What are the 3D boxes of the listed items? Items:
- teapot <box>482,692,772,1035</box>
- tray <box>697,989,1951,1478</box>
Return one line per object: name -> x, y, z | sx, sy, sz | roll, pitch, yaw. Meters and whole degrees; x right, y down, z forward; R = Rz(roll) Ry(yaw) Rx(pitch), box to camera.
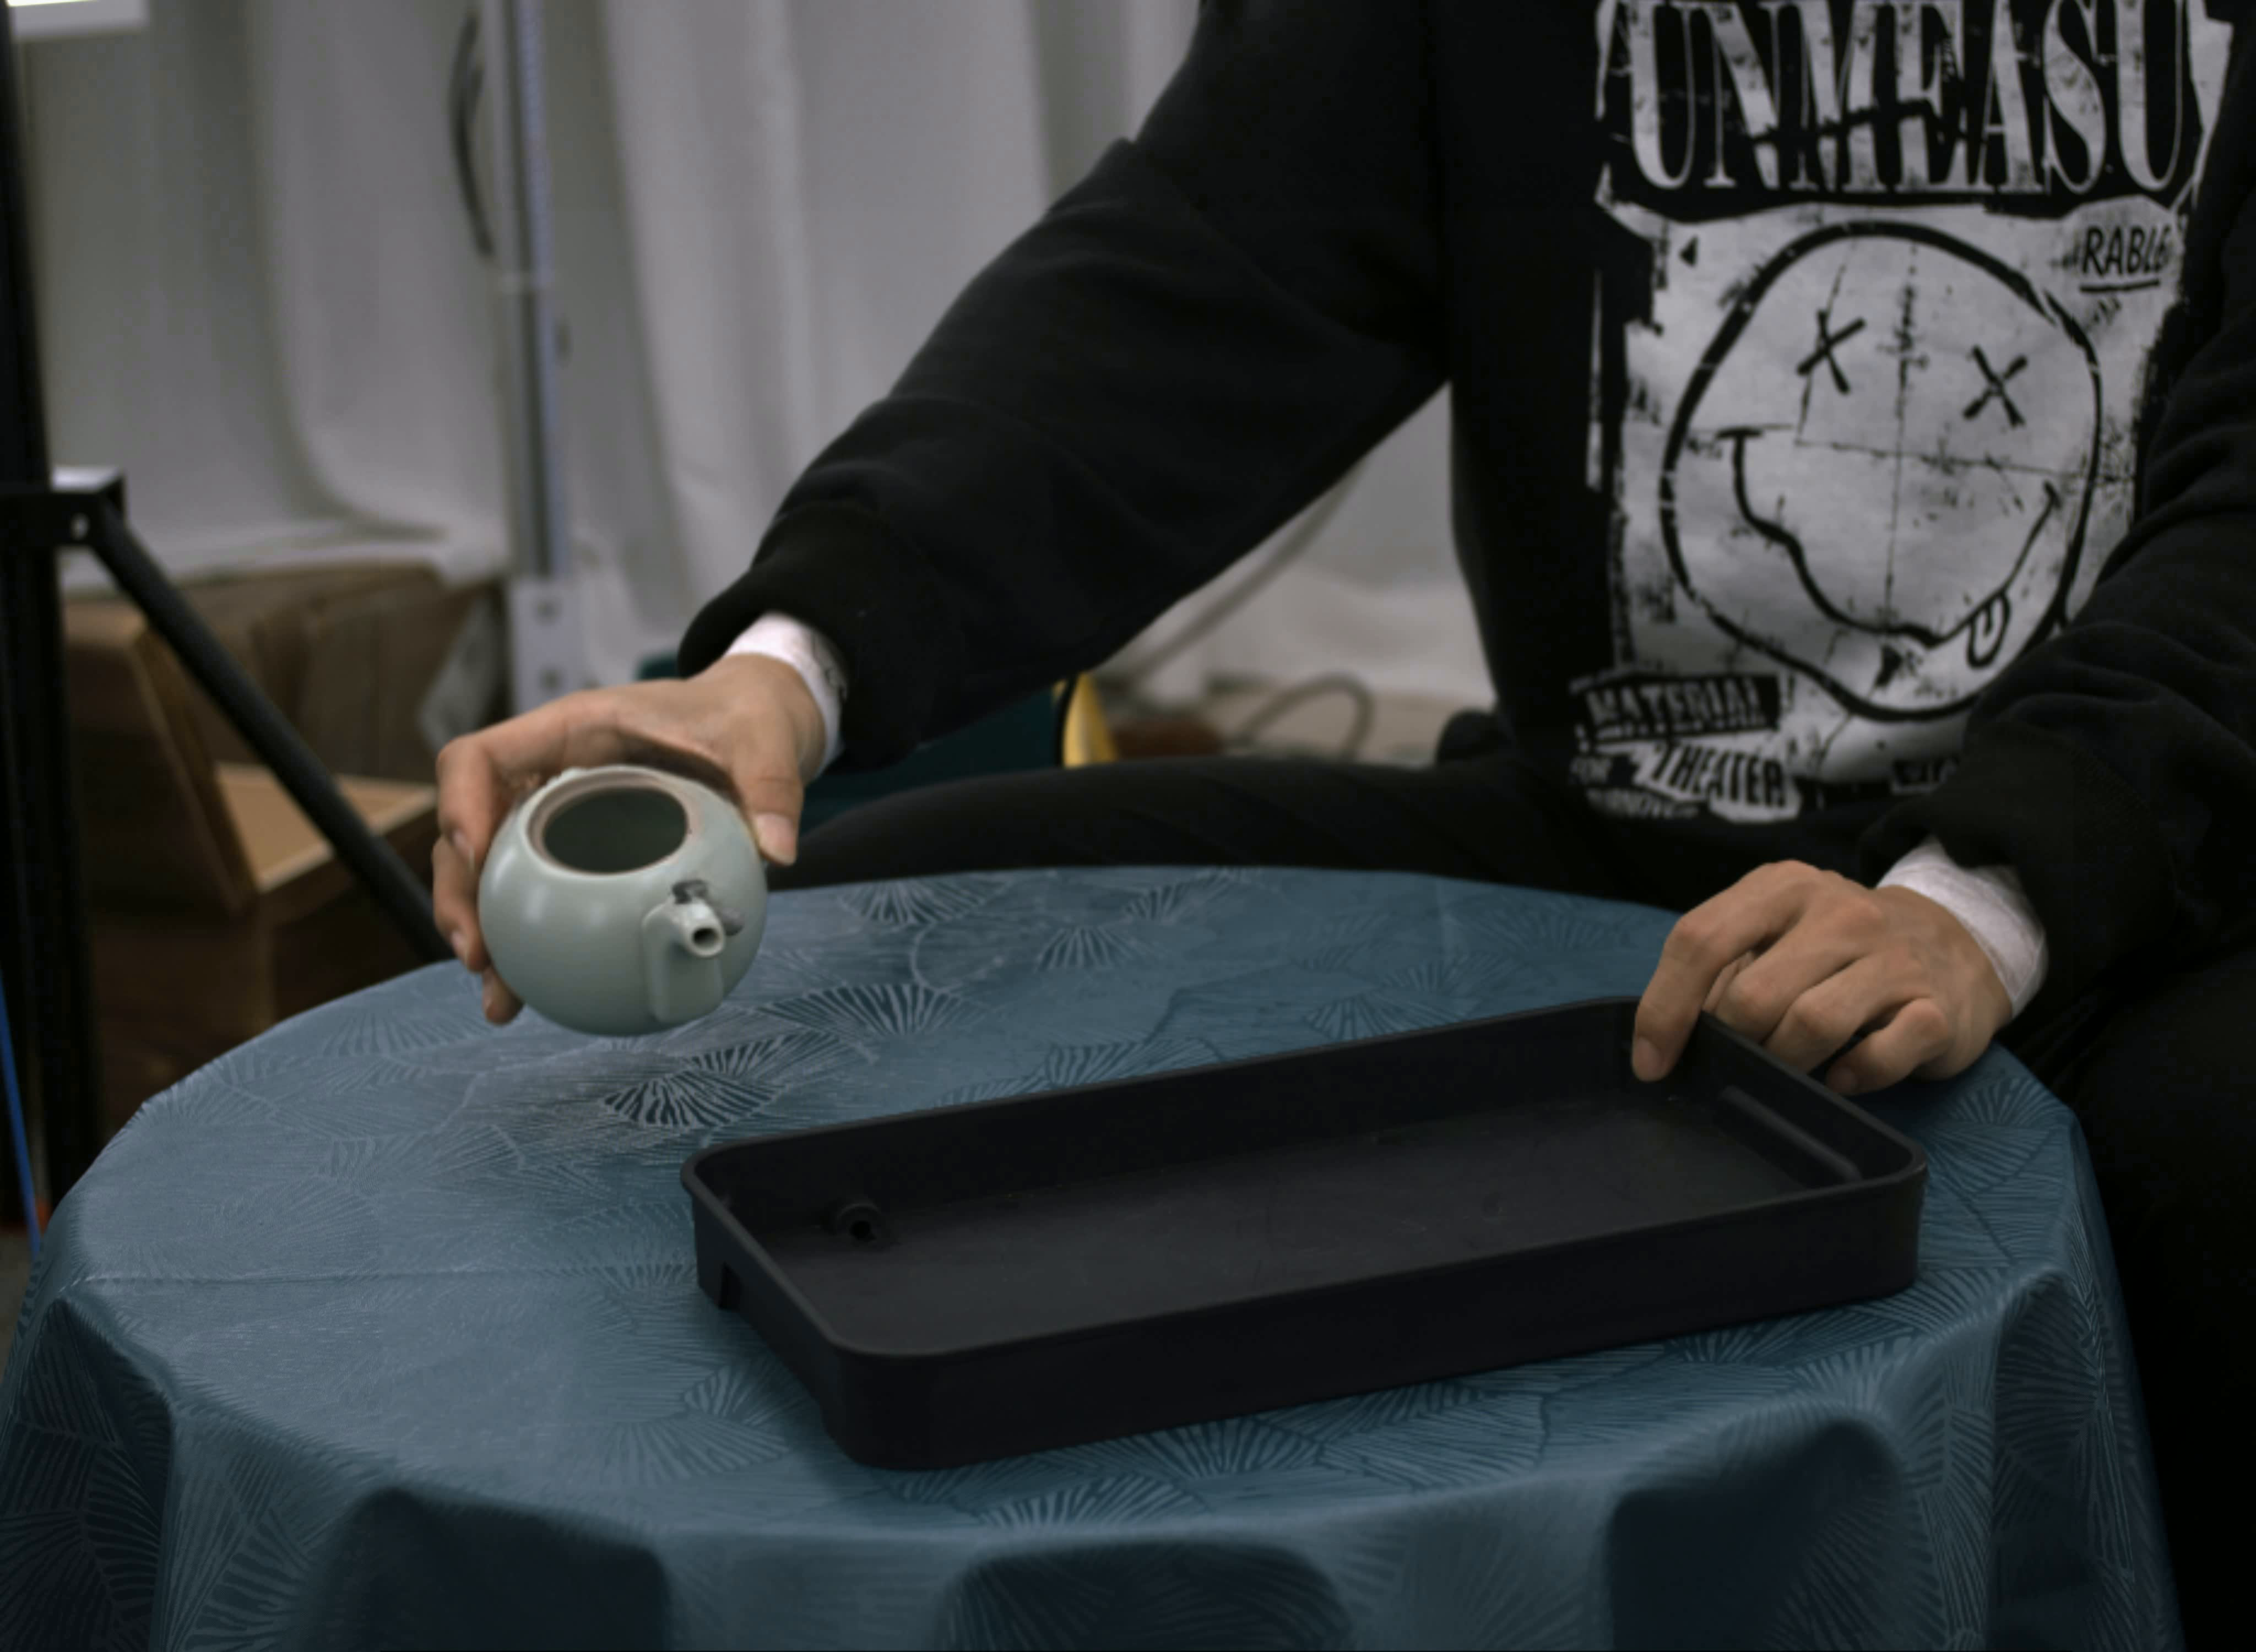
teapot -> -0.152, 0.021, 1.619 | 0.087, 0.074, 0.147 | -17, 37, -19
tray -> 0.054, 0.108, 1.474 | 0.312, 0.037, 0.187 | -9, 17, -19
